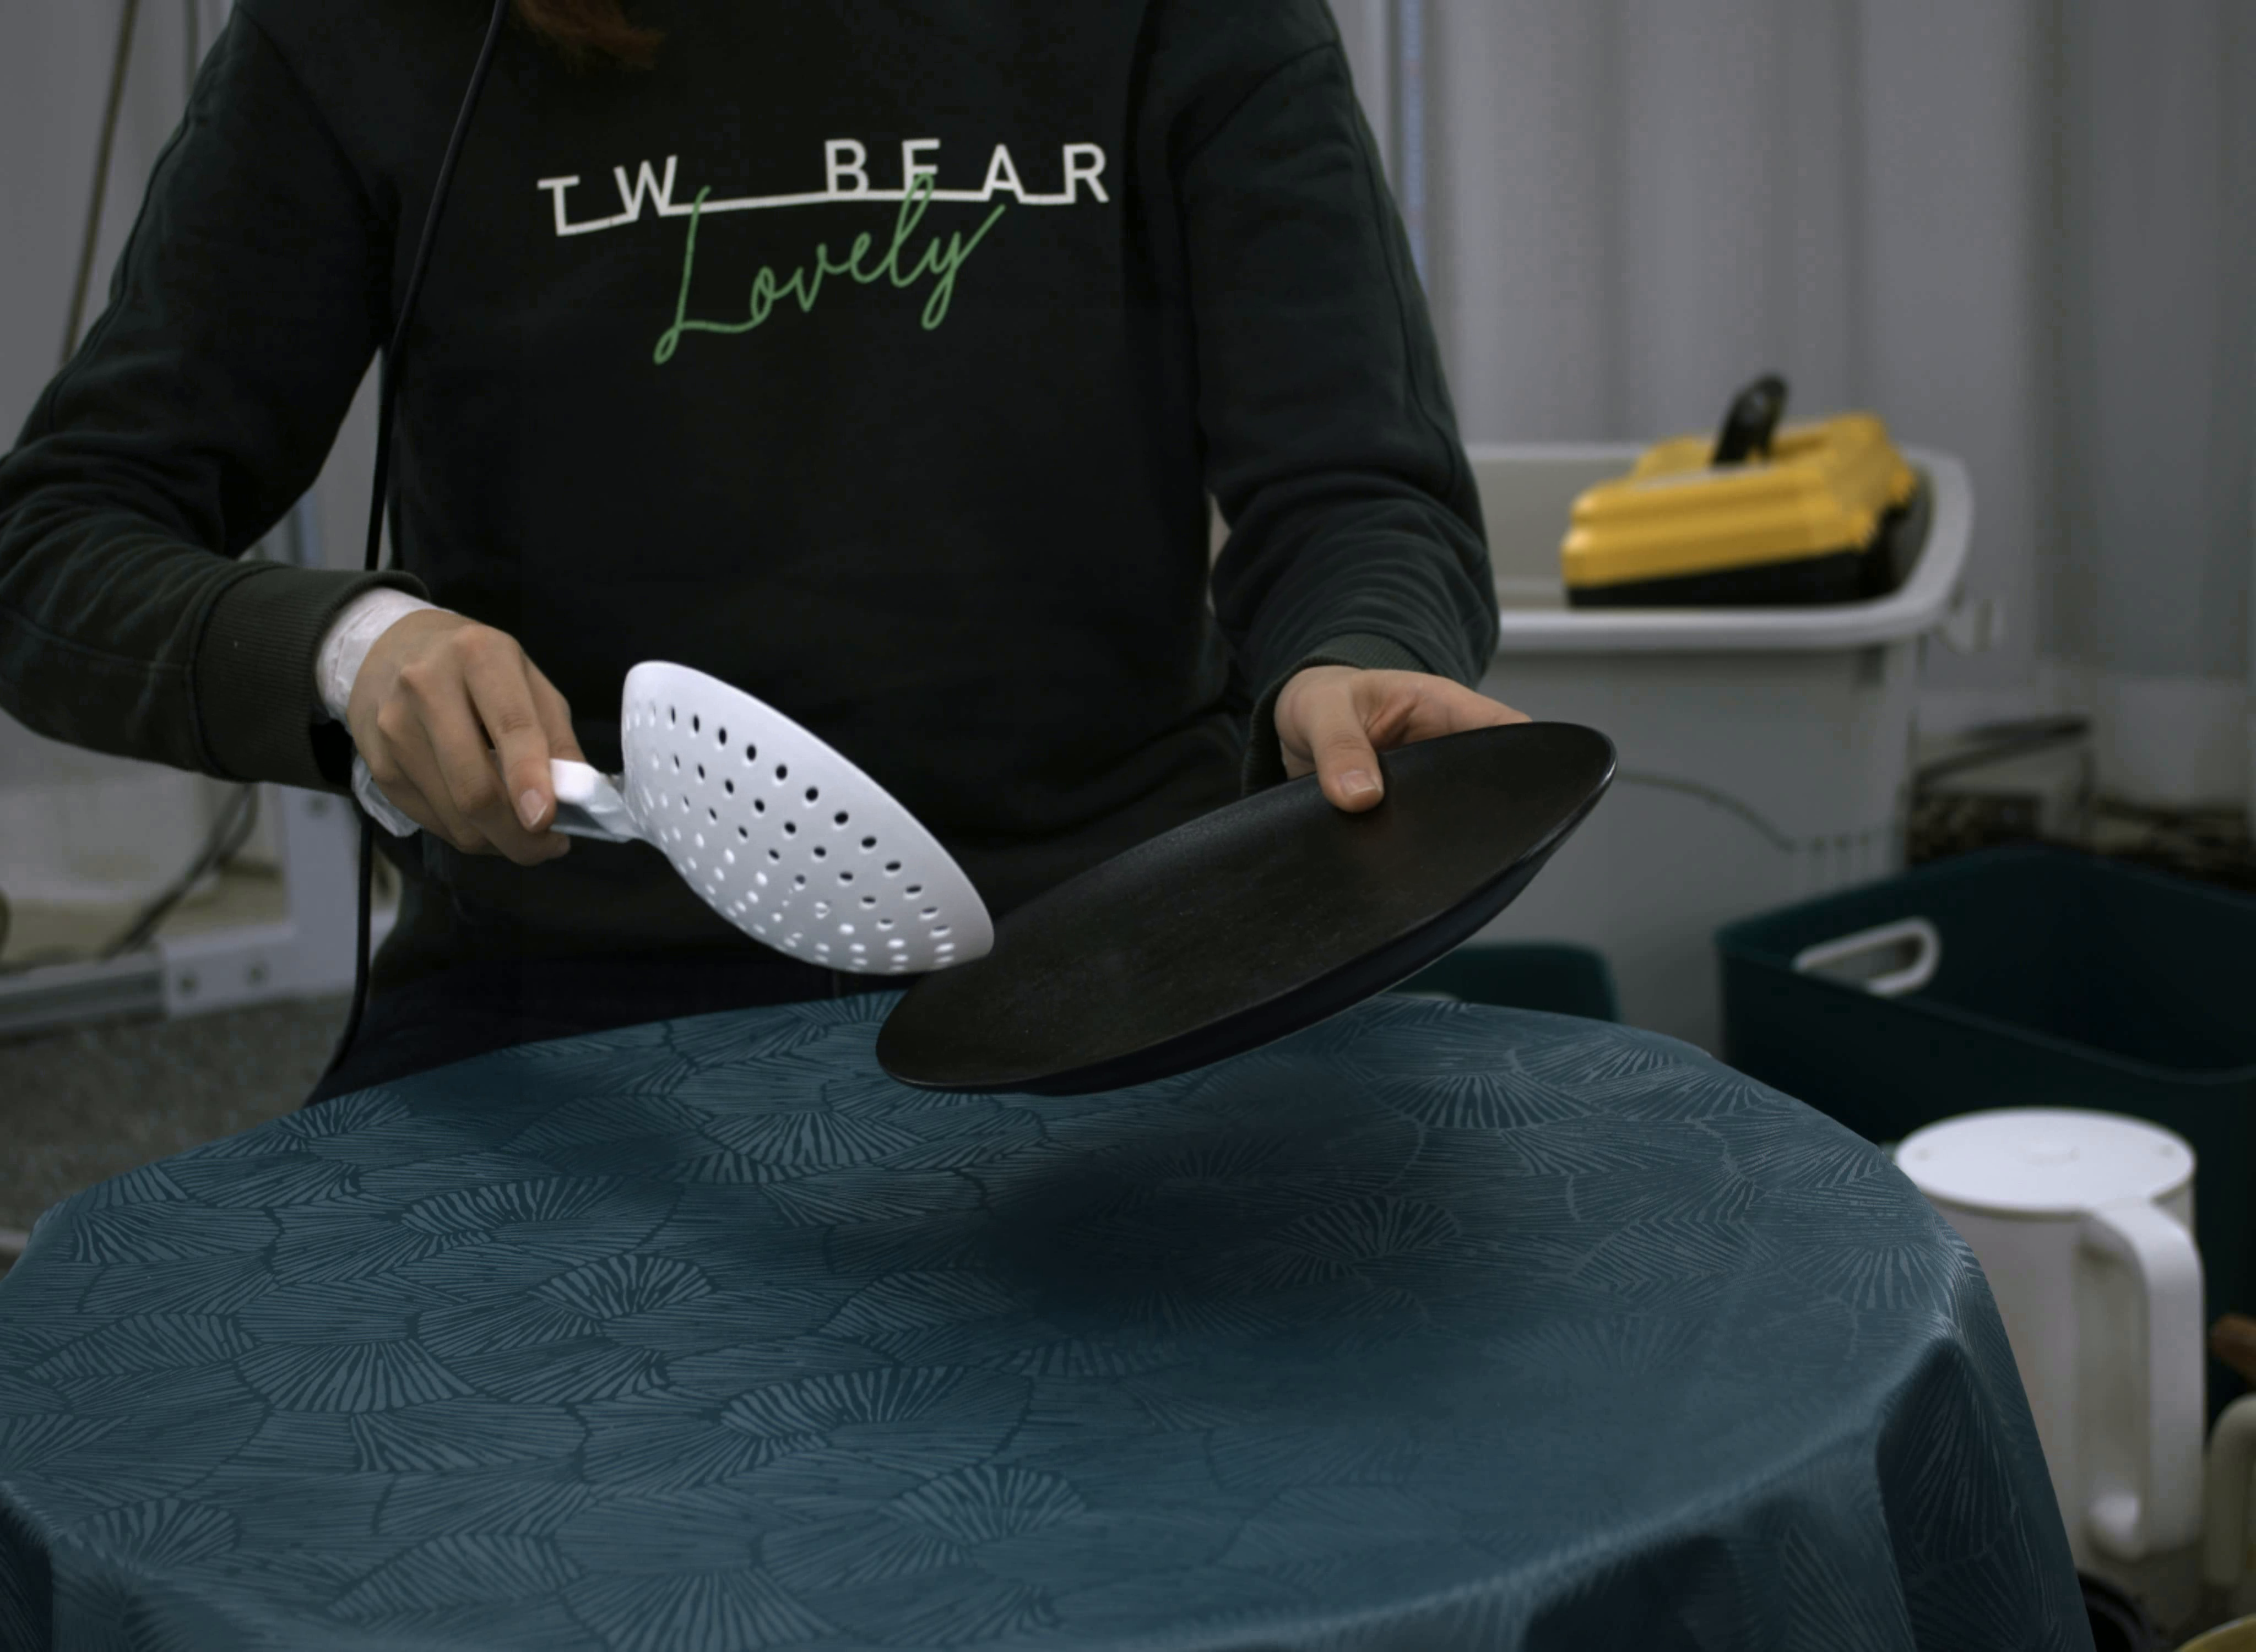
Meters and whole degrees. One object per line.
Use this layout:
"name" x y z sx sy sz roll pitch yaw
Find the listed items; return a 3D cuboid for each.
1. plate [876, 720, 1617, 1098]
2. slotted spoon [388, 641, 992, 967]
"plate" 0.039 0.031 1.659 0.244 0.023 0.246 -22 13 5
"slotted spoon" -0.155 -0.008 1.730 0.046 0.135 0.351 -49 25 -14
